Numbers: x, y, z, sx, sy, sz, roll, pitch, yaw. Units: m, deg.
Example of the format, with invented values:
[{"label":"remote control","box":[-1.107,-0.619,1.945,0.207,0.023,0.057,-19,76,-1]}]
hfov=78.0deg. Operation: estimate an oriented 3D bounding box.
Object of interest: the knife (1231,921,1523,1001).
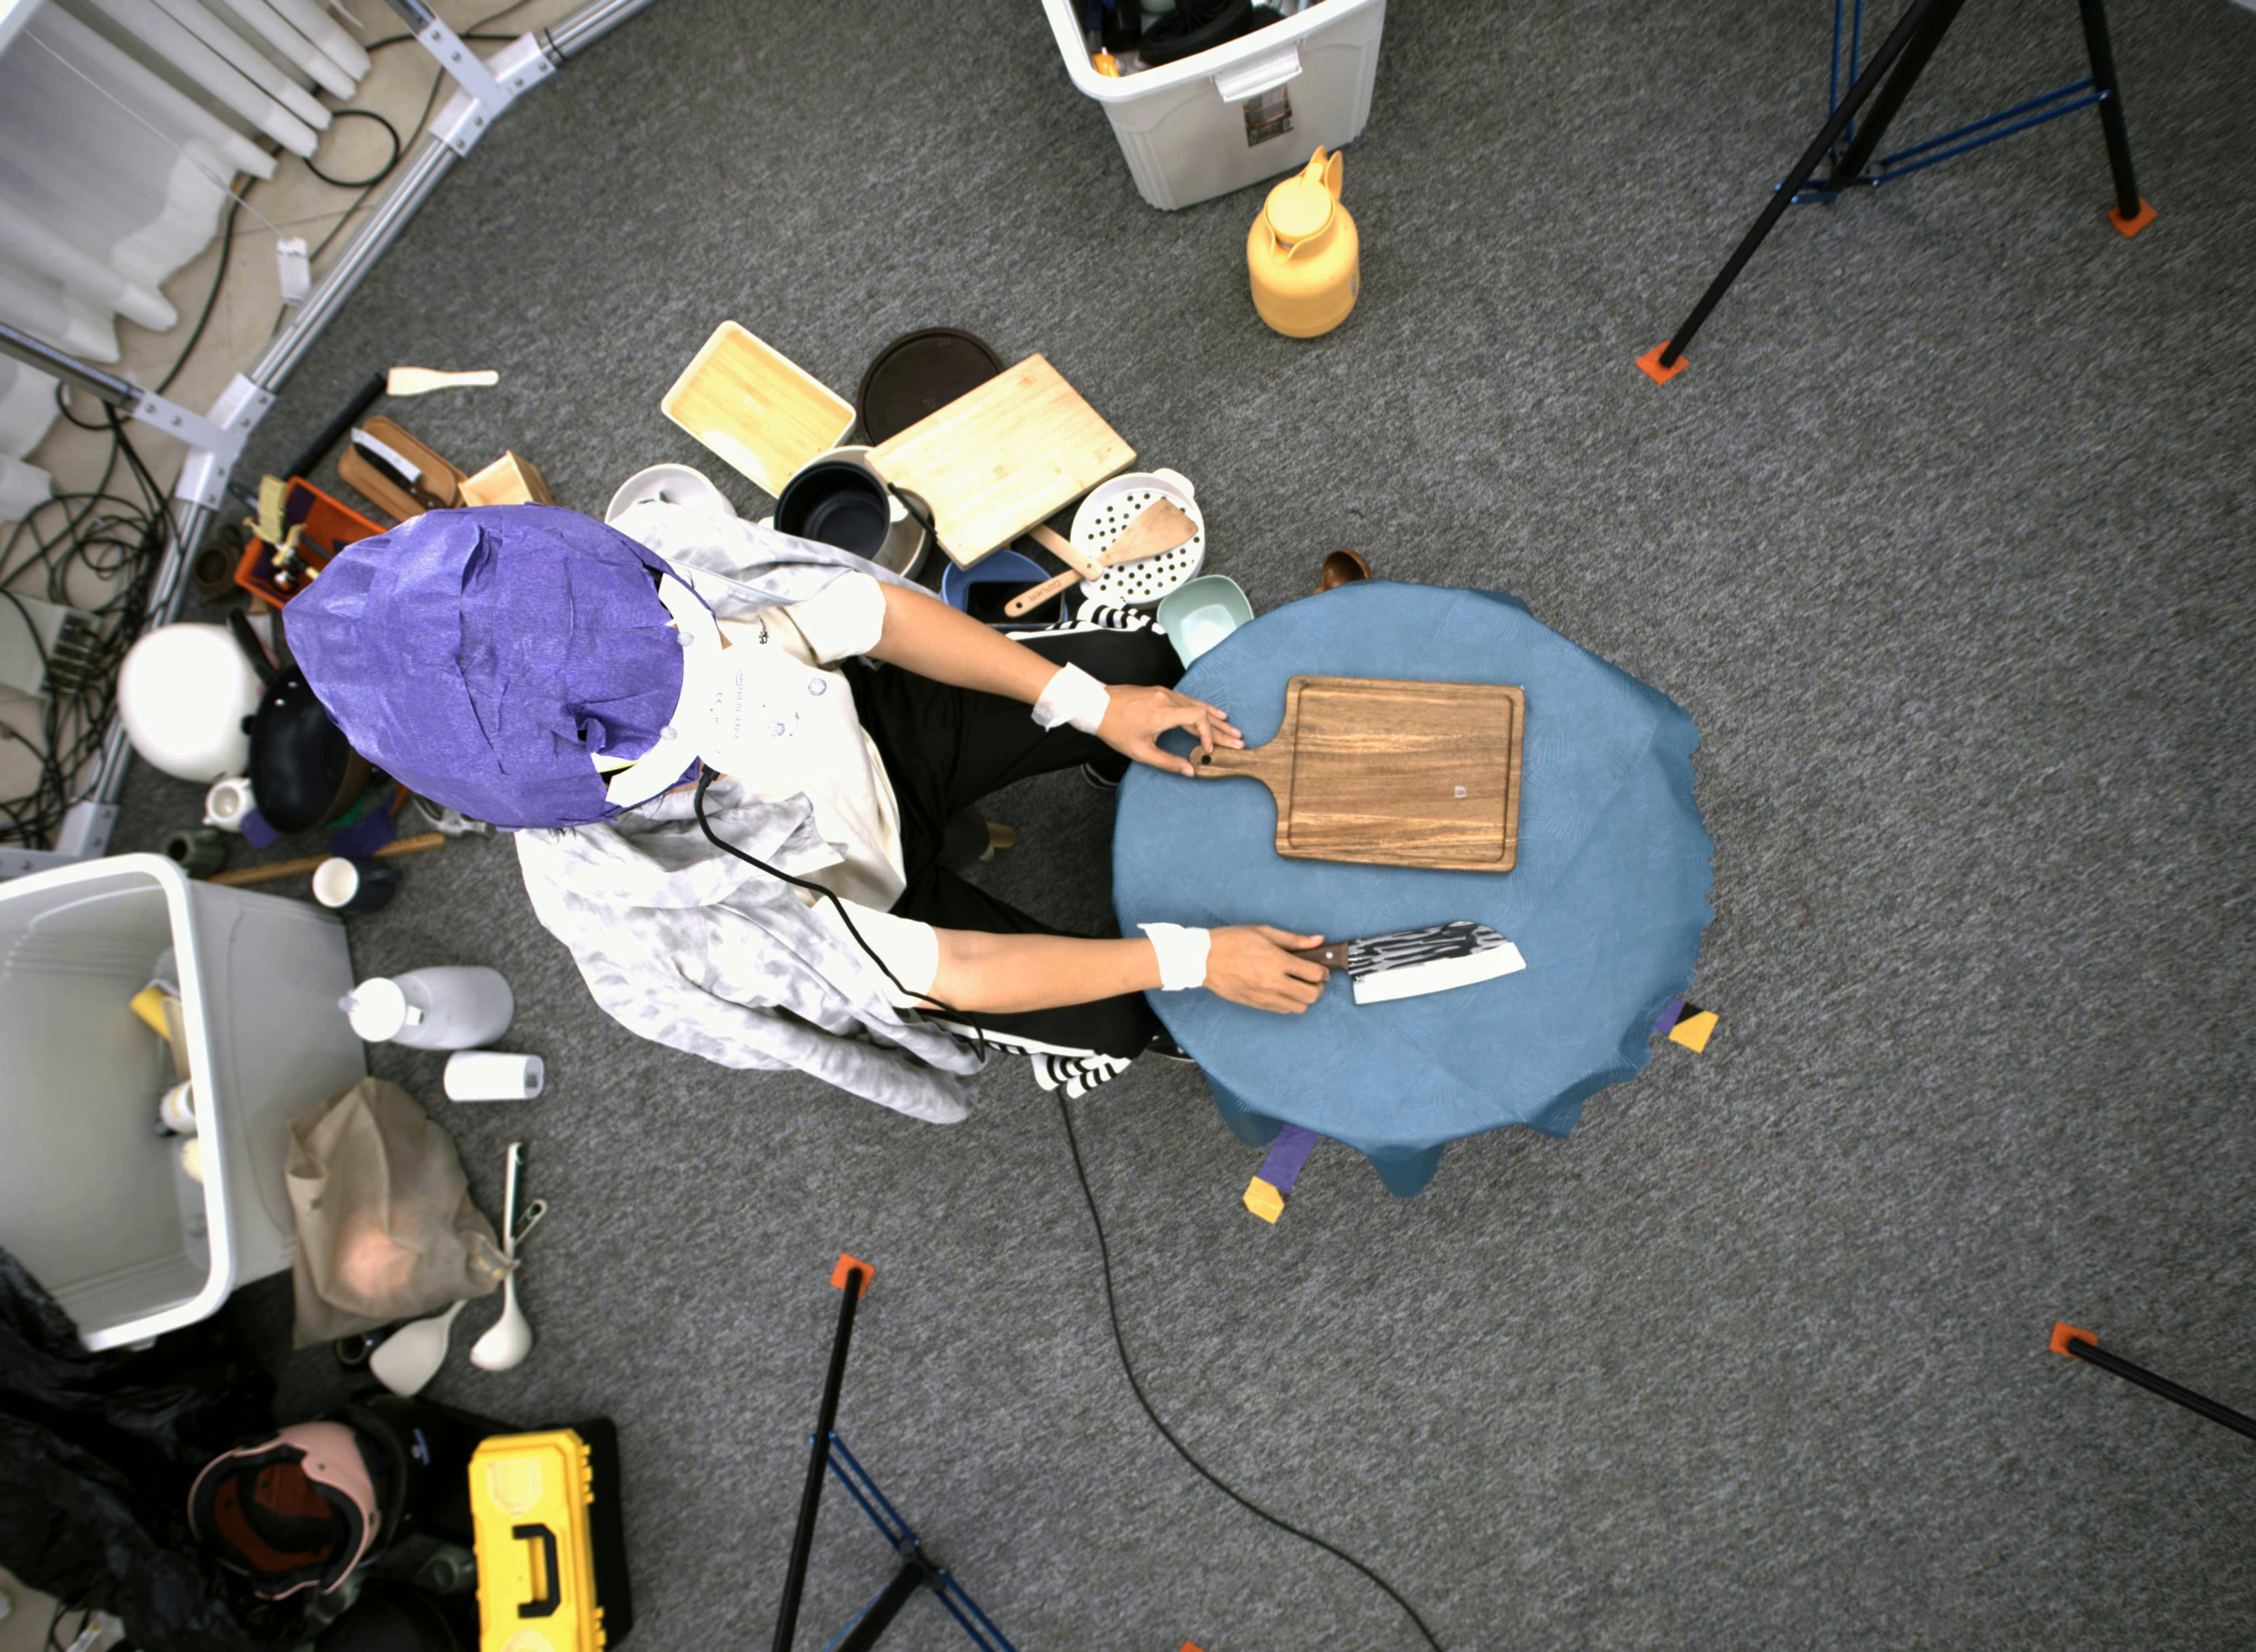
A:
[{"label":"knife","box":[0.259,0.145,1.445,0.301,0.024,0.068,-9,85,8]}]

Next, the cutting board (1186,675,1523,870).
[{"label":"cutting board","box":[0.236,-0.062,1.461,0.353,0.023,0.200,3,87,11]}]
